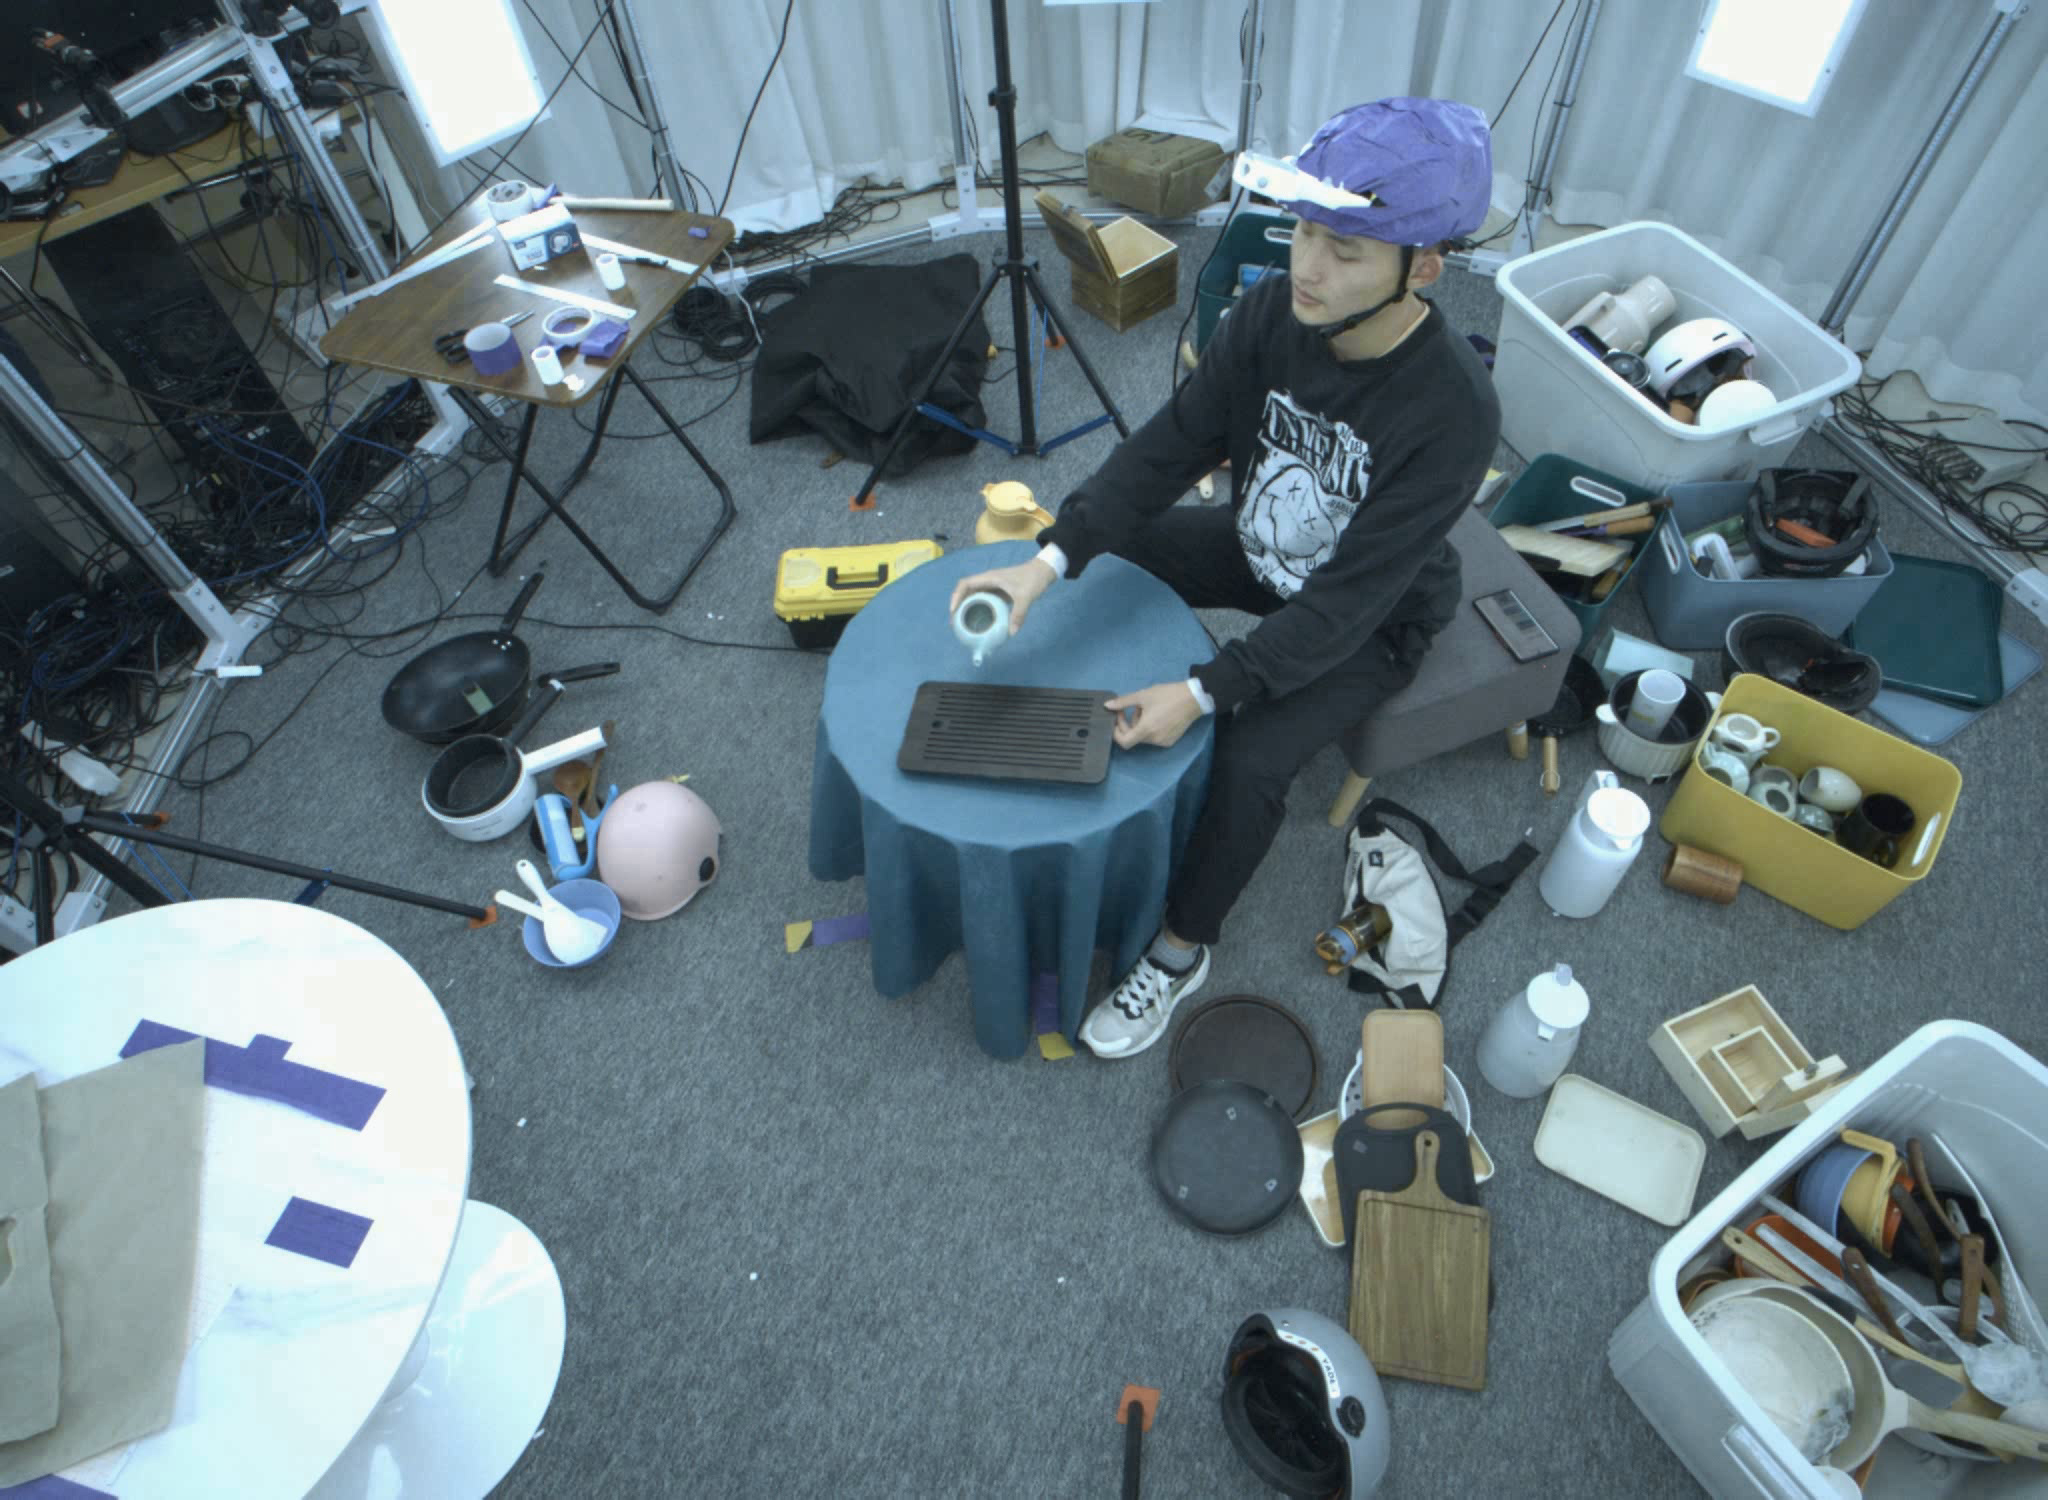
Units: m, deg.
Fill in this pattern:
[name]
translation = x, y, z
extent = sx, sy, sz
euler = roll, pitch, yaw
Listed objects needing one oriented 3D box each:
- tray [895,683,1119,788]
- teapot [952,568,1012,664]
[tray]
translation = -0.022, -0.022, 1.776
extent = 0.304, 0.019, 0.169
euler = 4, 53, 9
[teapot]
translation = -0.062, -0.188, 1.779
extent = 0.088, 0.075, 0.143
euler = 0, 82, 10
